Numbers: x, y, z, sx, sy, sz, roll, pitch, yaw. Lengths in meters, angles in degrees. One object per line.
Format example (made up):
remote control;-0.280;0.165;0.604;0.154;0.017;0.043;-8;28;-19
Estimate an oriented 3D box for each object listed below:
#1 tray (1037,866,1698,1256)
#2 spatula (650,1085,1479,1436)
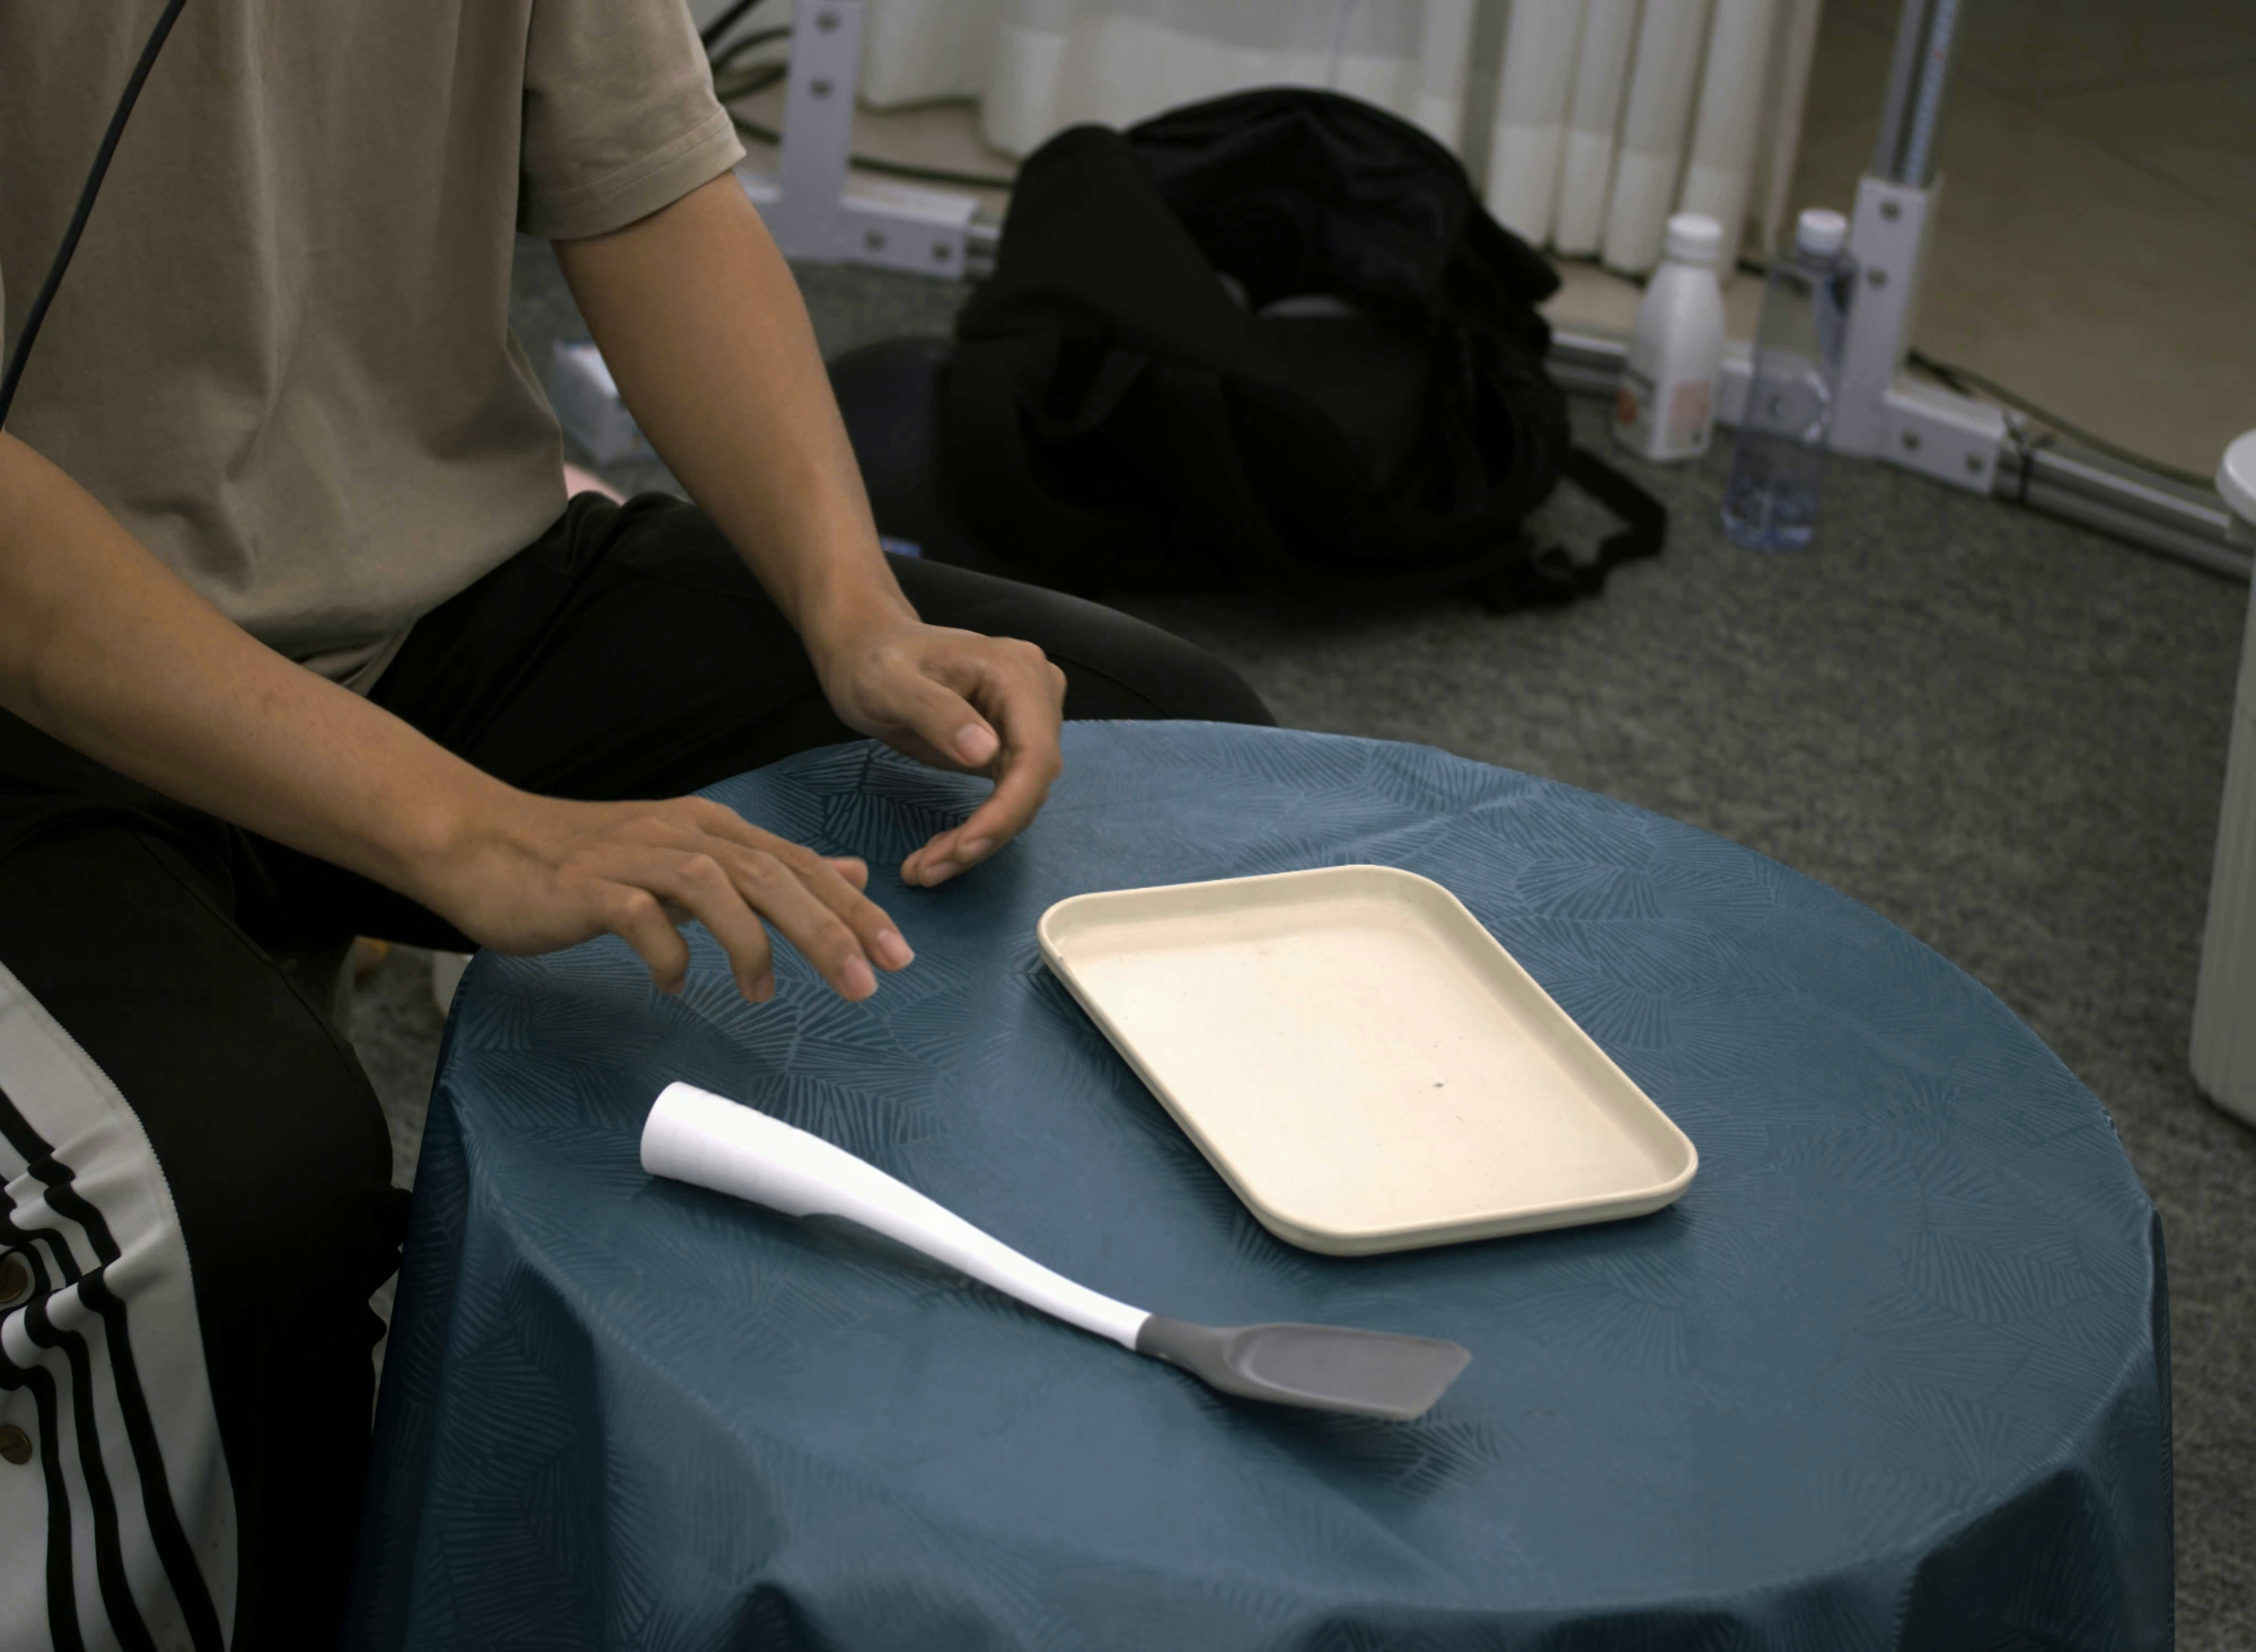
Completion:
tray;0.081;0.082;1.886;0.170;0.017;0.242;-5;29;-24
spatula;-0.024;0.144;1.722;0.288;0.032;0.058;19;25;21
